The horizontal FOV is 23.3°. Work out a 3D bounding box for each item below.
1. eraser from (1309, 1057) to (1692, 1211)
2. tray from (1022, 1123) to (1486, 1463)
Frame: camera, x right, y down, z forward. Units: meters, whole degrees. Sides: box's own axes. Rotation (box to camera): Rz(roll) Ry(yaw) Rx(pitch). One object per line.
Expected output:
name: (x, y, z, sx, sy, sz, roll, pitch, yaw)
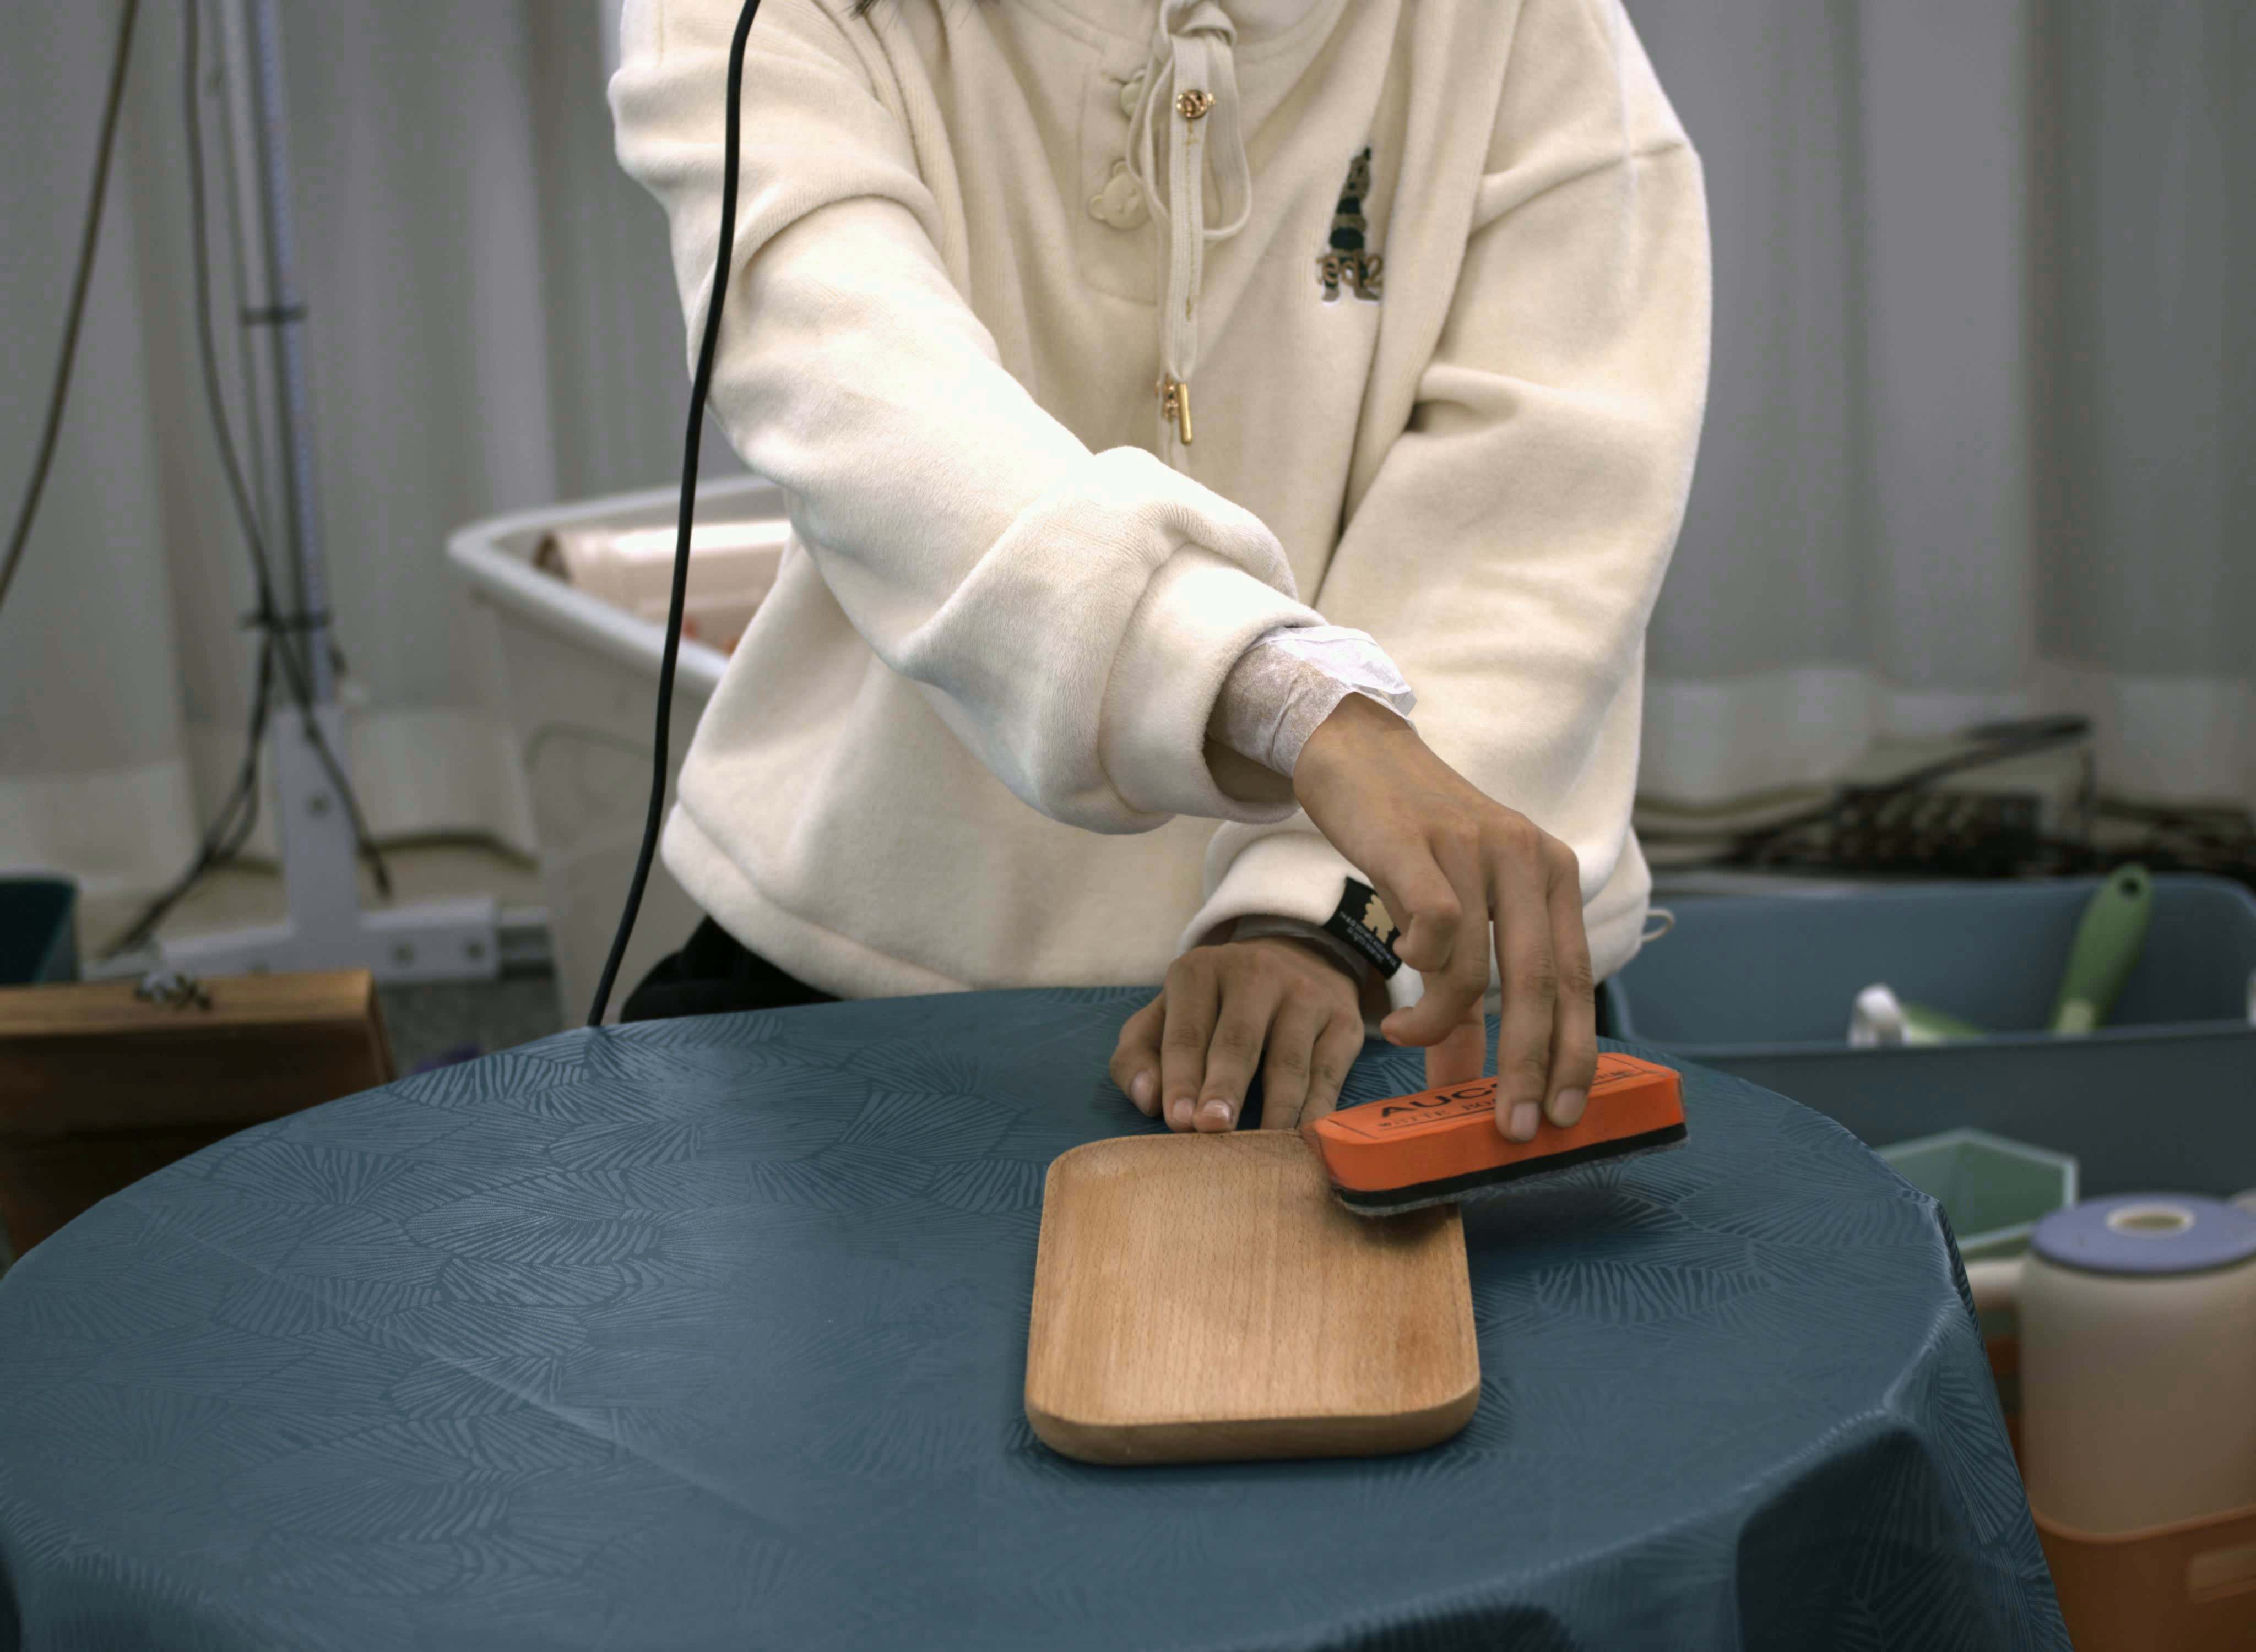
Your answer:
eraser: (0.113, 0.093, 1.659, 0.107, 0.023, 0.059, -10, 9, -17)
tray: (0.038, 0.134, 1.600, 0.130, 0.023, 0.252, 1, 15, 3)
